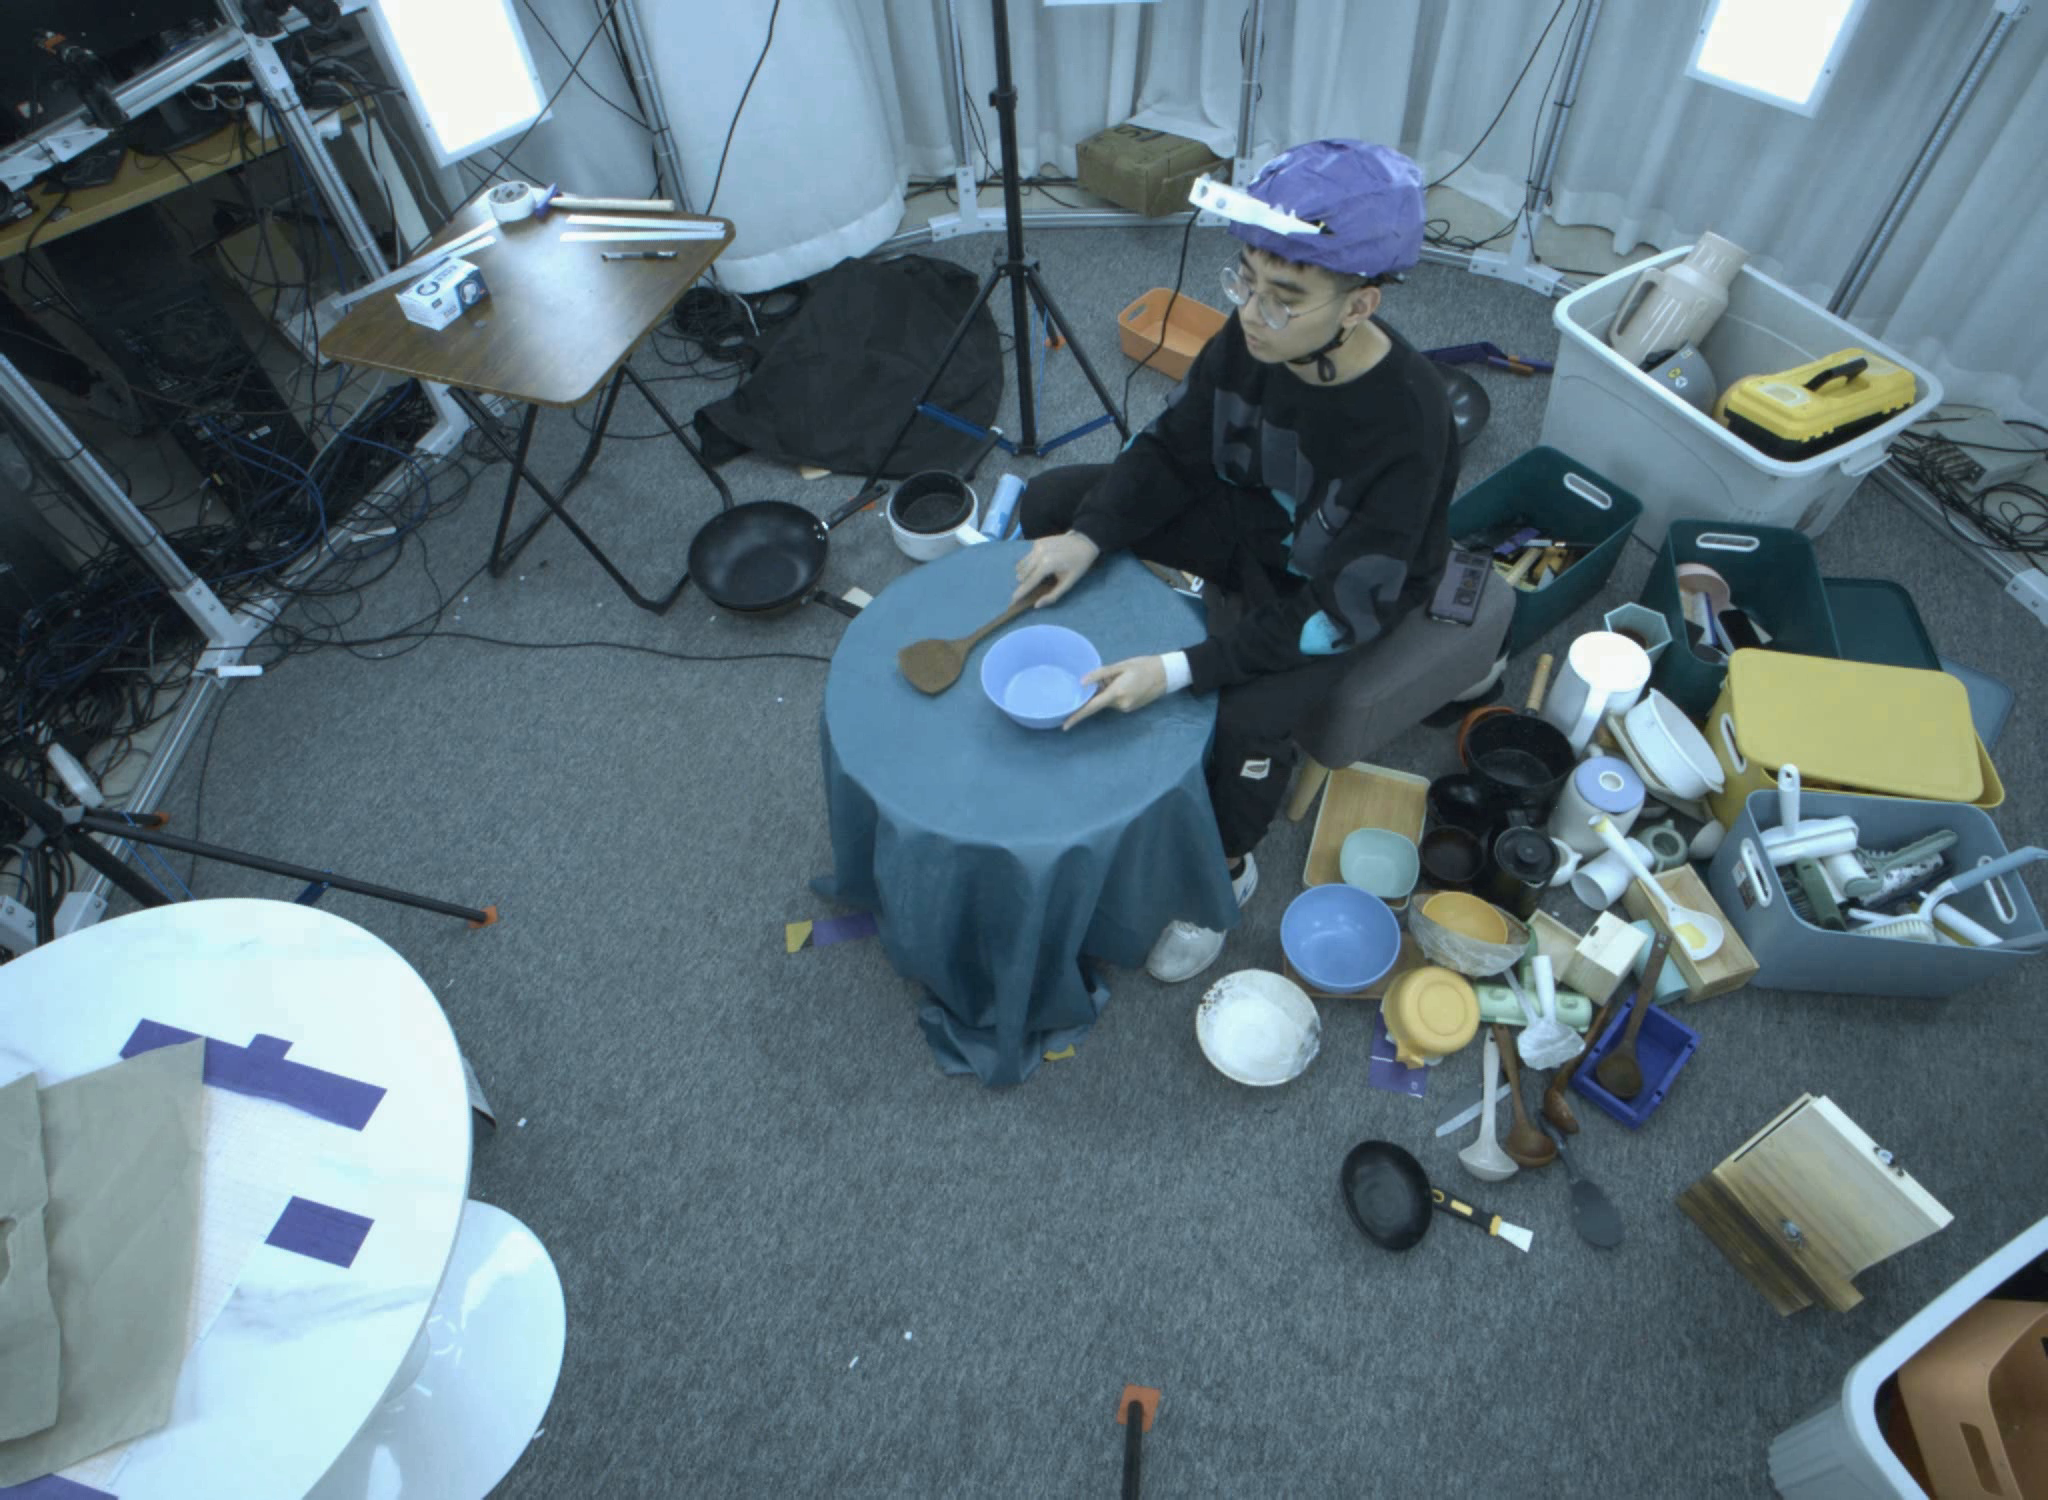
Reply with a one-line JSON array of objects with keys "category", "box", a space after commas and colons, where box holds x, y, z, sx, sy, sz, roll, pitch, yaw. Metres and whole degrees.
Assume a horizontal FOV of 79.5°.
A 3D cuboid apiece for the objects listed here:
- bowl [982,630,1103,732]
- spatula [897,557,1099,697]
[{"category": "bowl", "box": [0.027, -0.093, 1.819, 0.176, 0.071, 0.174, 0, 54, 1]}, {"category": "spatula", "box": [-0.028, -0.207, 1.929, 0.389, 0.016, 0.095, -35, 75, -22]}]
